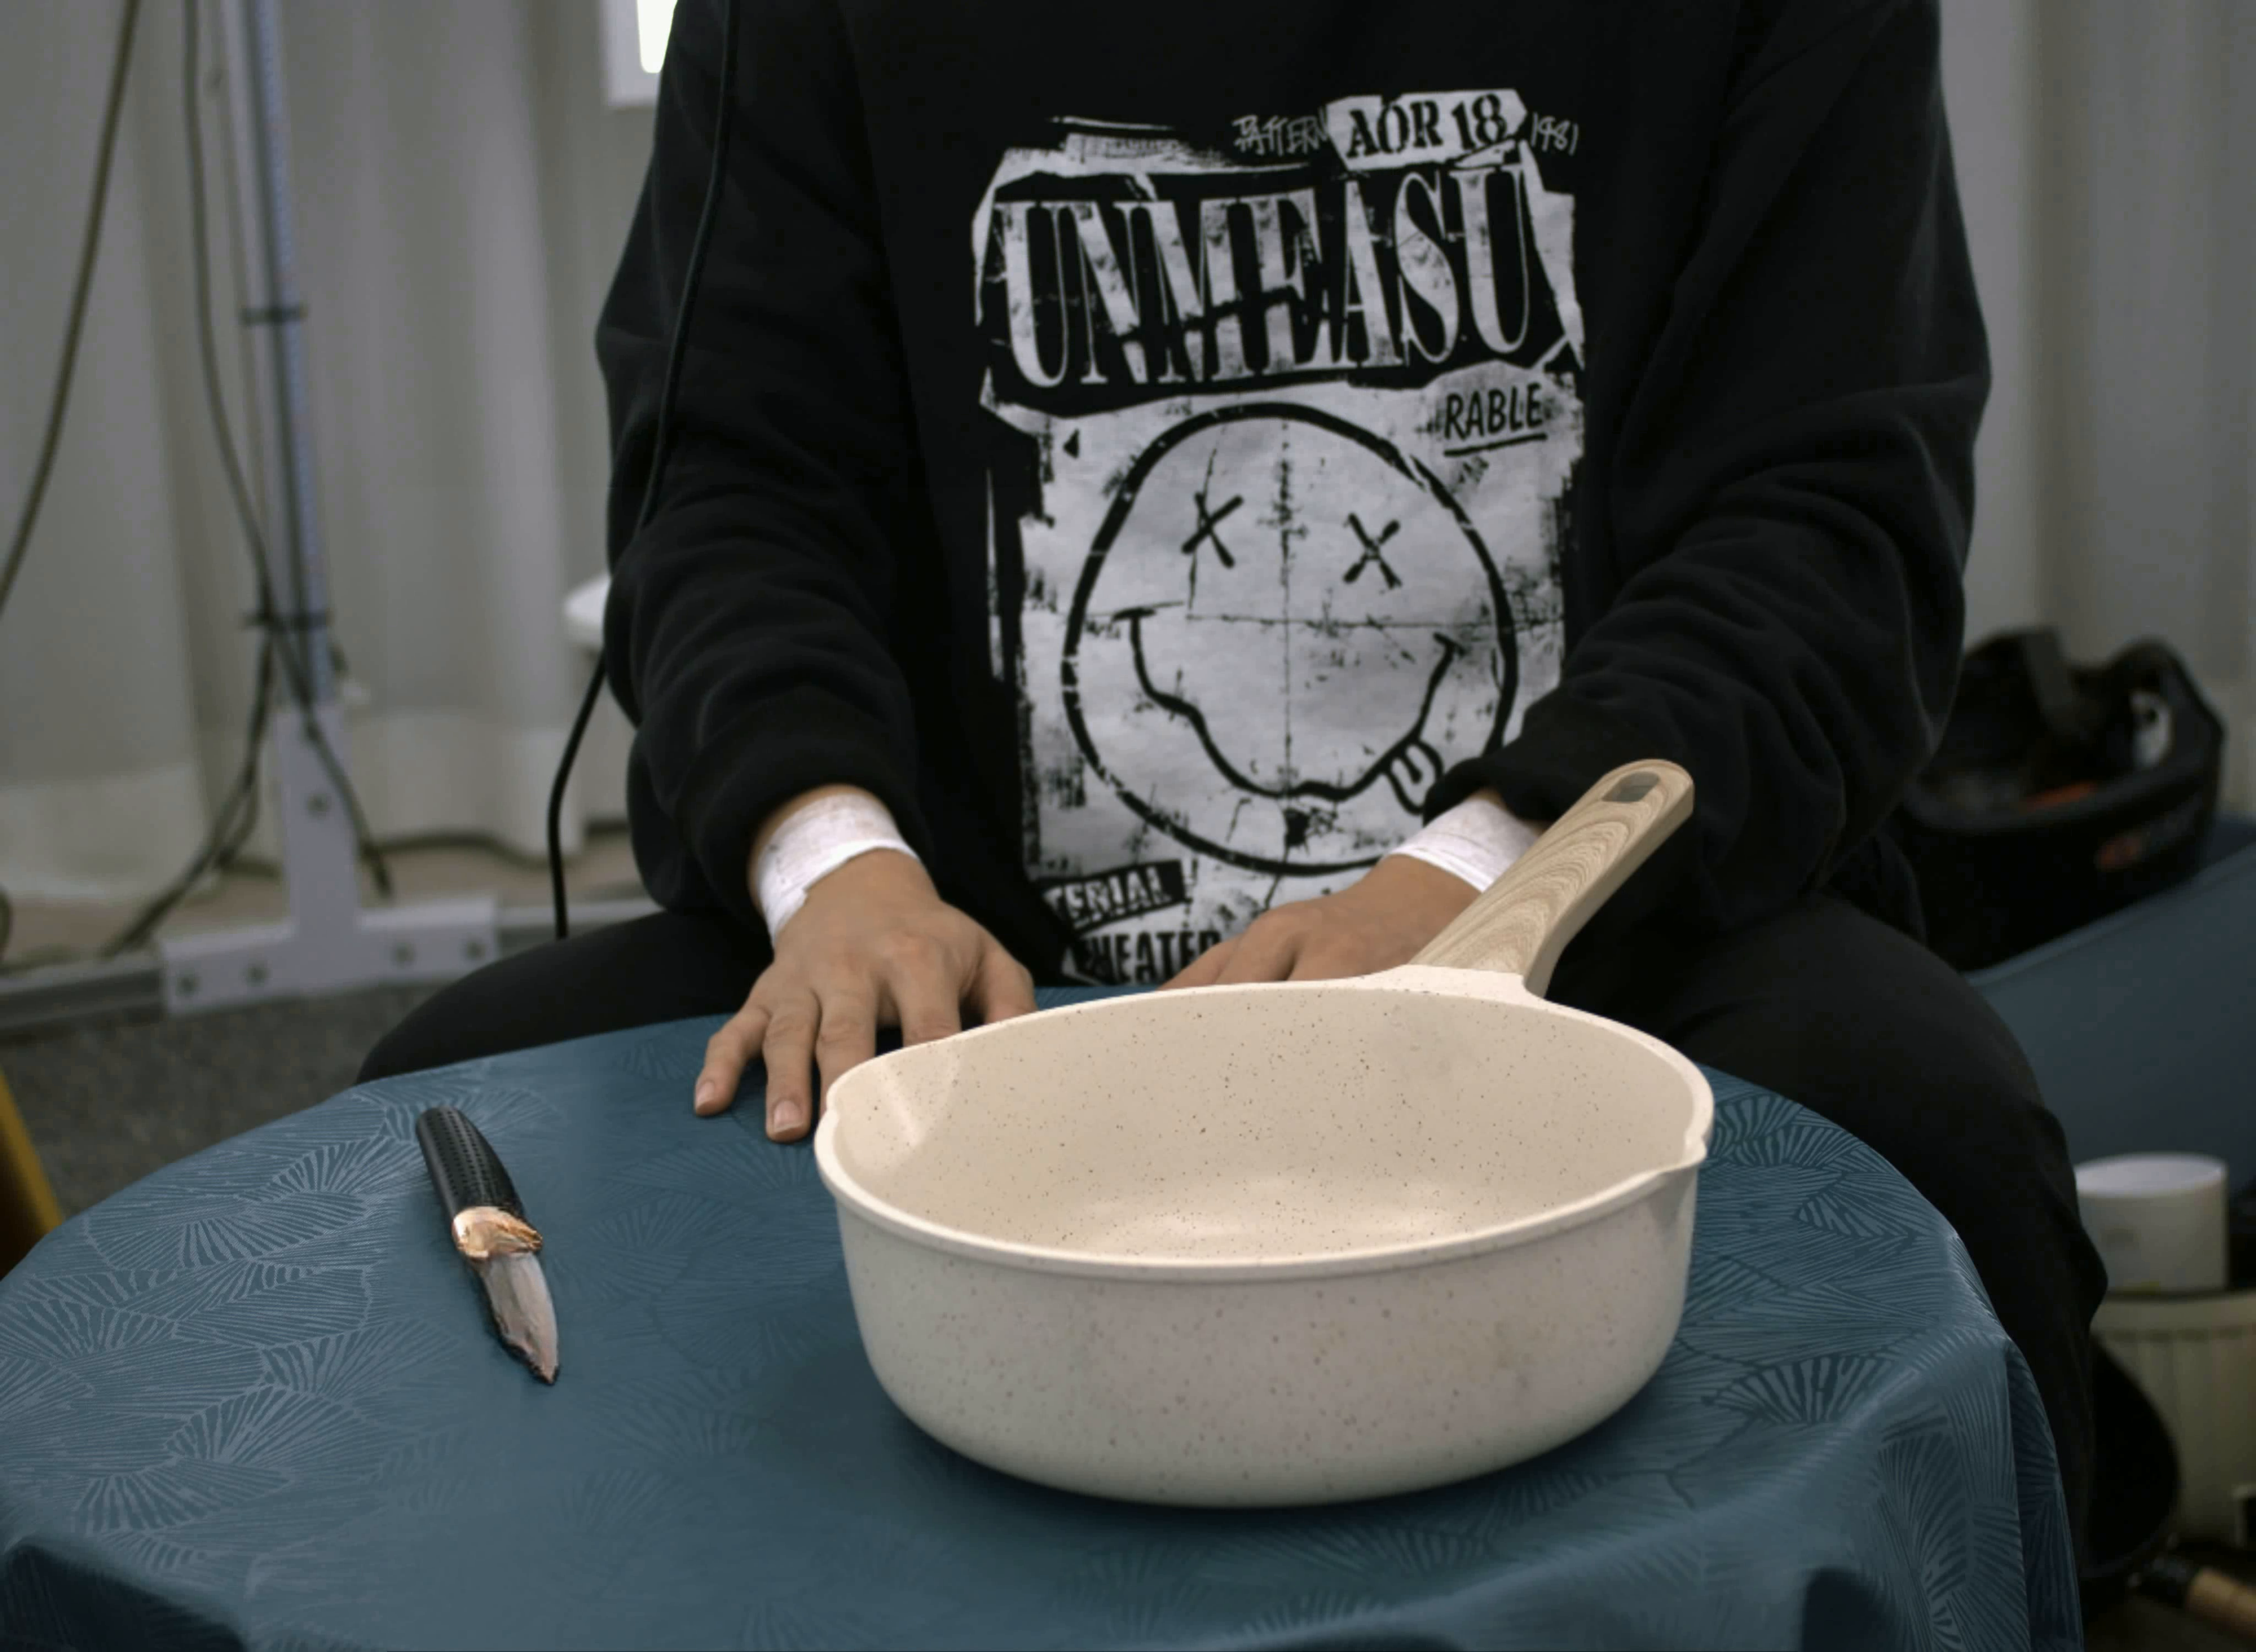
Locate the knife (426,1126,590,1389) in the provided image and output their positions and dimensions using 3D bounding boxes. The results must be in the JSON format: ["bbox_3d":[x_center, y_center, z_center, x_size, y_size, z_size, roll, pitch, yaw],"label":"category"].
[{"bbox_3d":[-0.191,0.131,1.673,0.026,0.017,0.227,11,12,-17],"label":"knife"}]

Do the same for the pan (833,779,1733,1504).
[{"bbox_3d":[0.083,0.088,1.609,0.264,0.101,0.436,2,15,26],"label":"pan"}]
